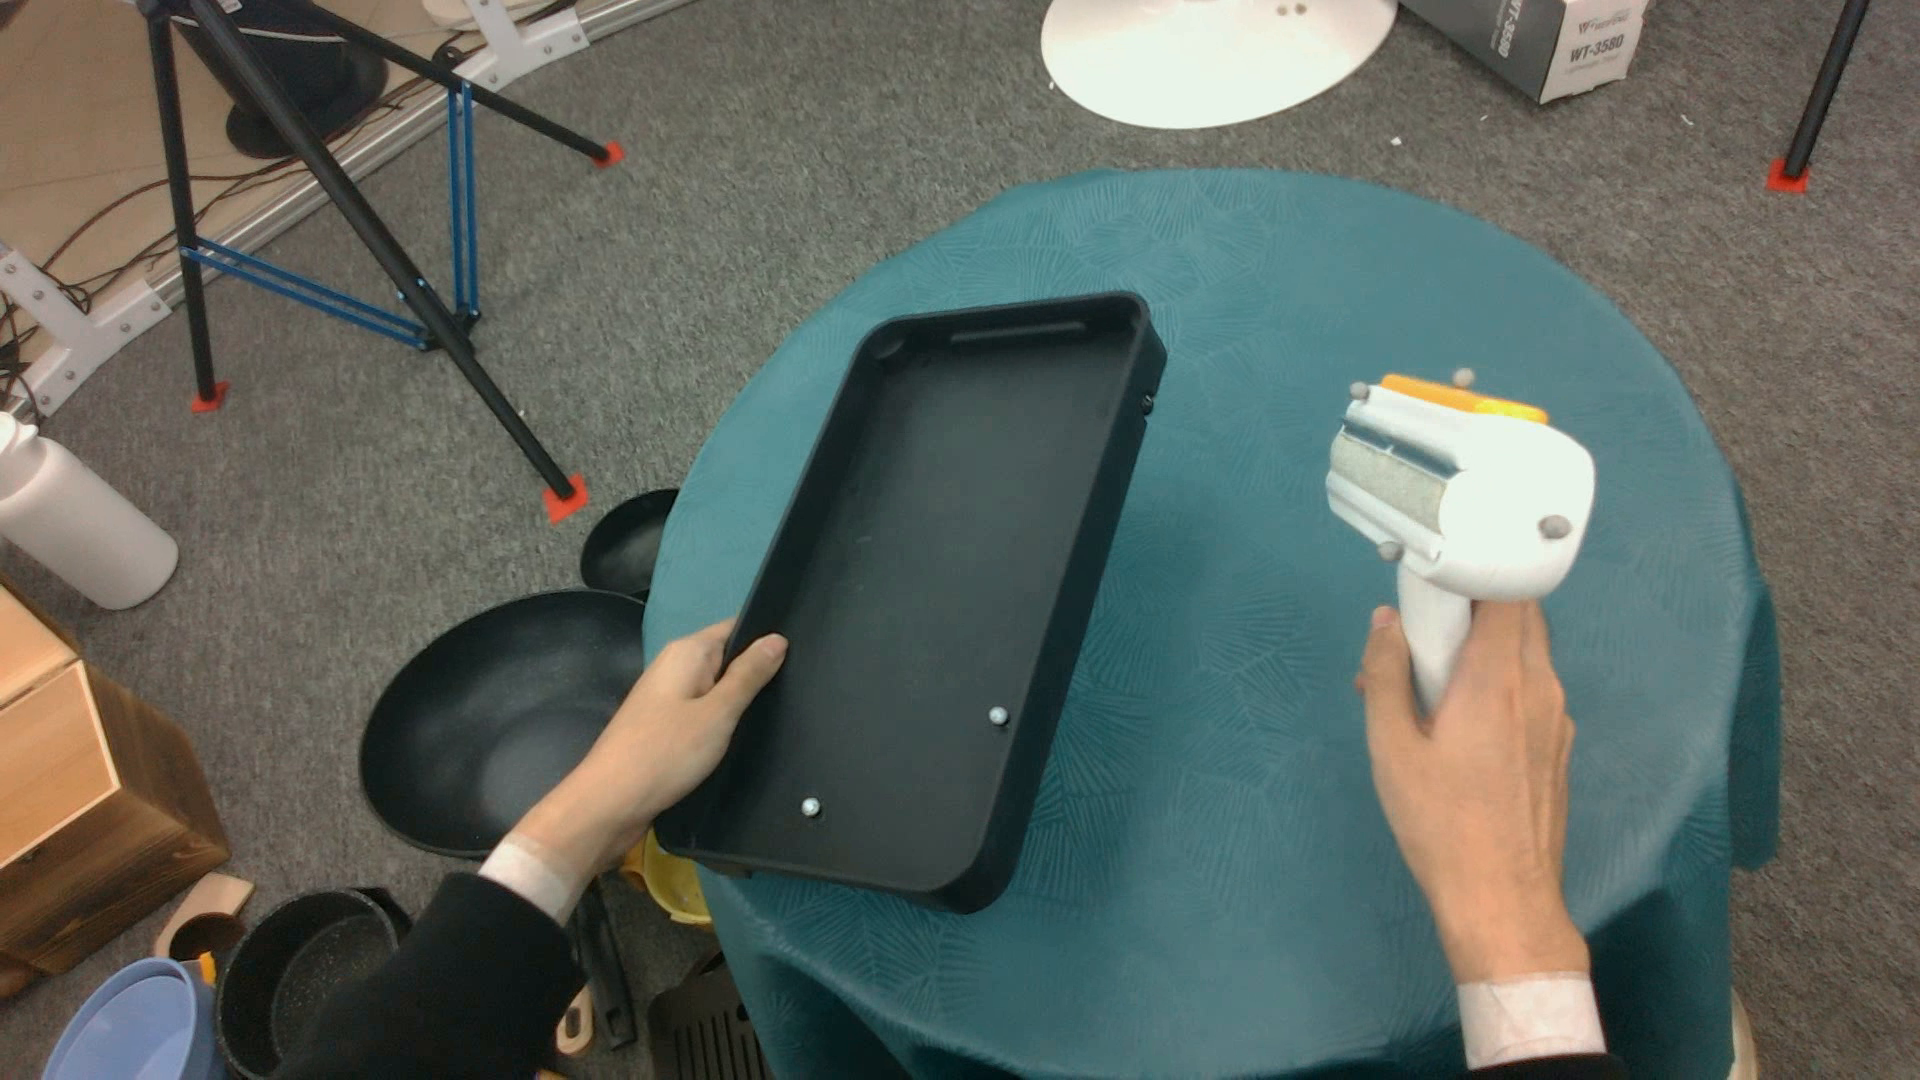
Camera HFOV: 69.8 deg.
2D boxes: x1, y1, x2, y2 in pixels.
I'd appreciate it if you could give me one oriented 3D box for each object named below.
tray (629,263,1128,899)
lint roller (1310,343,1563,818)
[{"bbox_3d":[-0.032,0.009,0.661,0.184,0.037,0.319,-4,56,34],"label":"tray"},{"bbox_3d":[0.188,0.023,0.565,0.074,0.192,0.193,1,15,-1],"label":"lint roller"}]
